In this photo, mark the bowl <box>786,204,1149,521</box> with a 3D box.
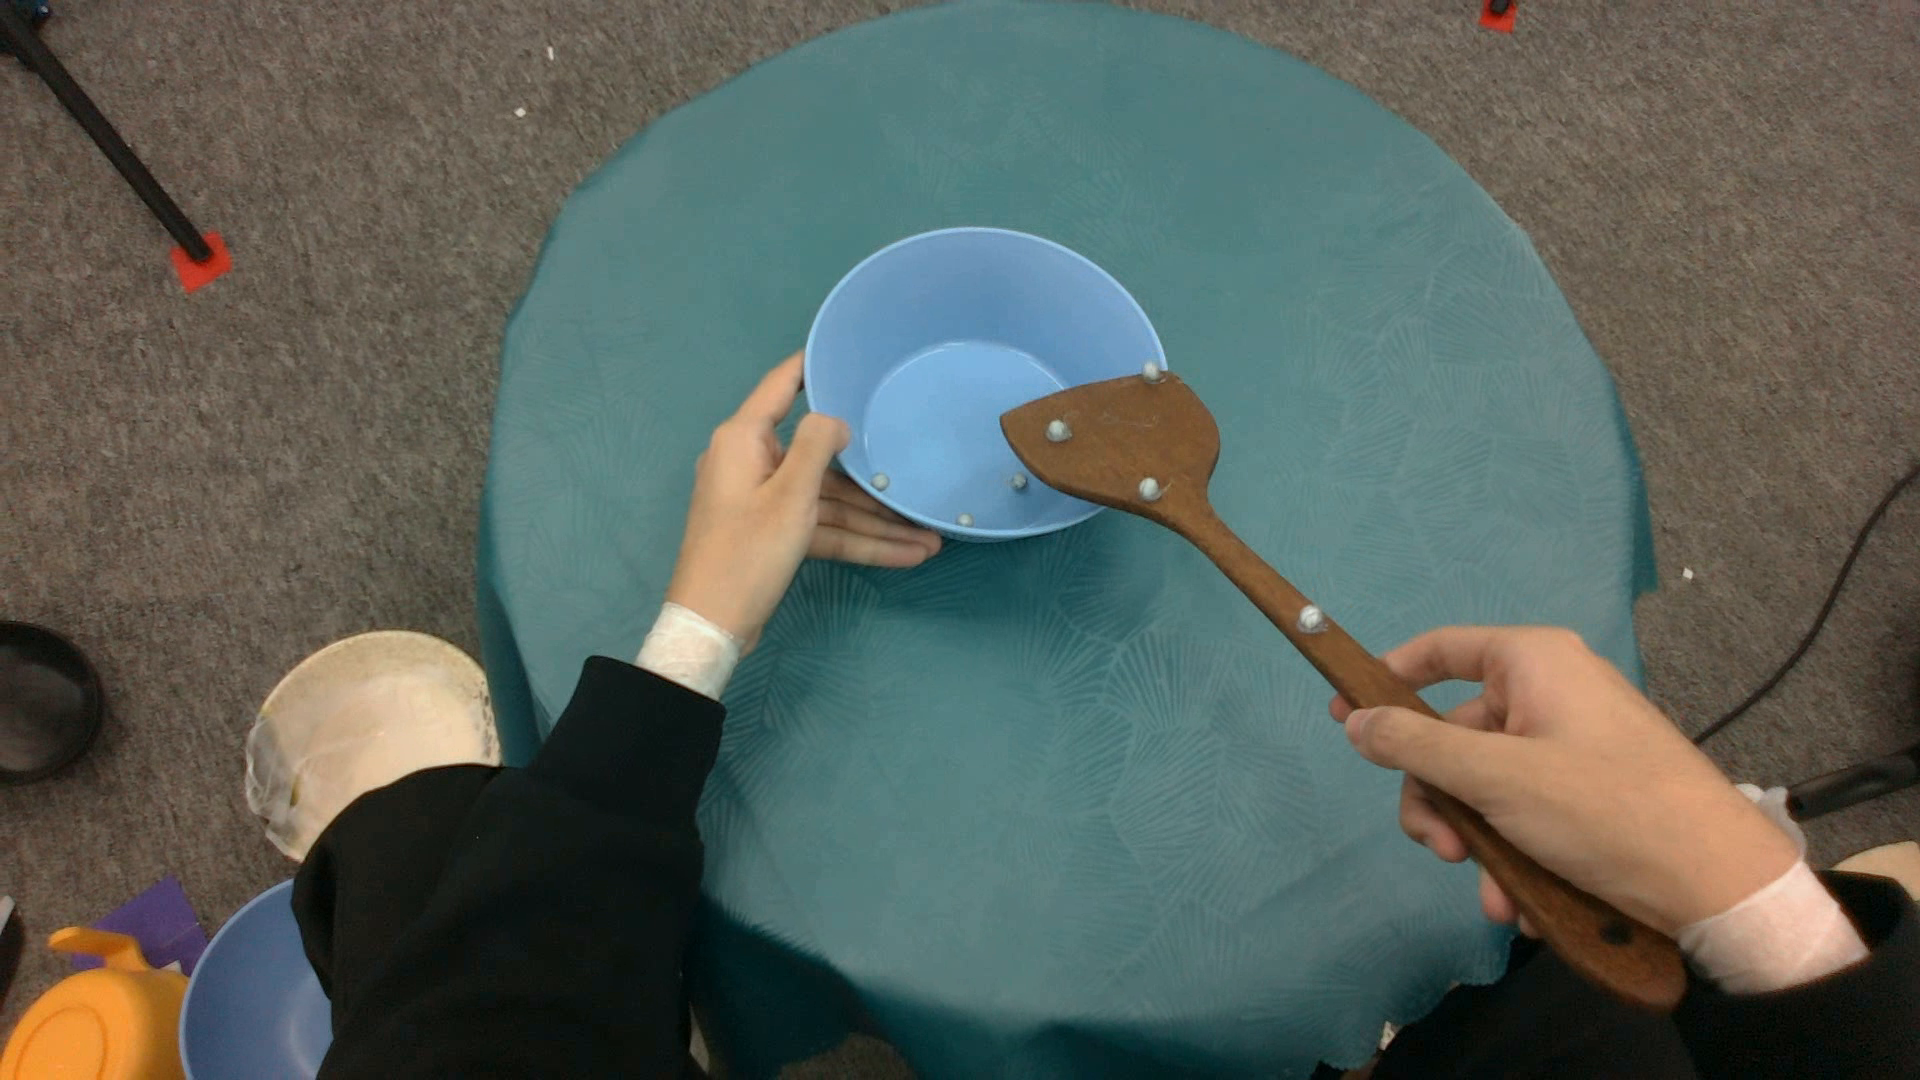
[{"bbox_3d":[0.002,-0.077,0.687,0.176,0.070,0.176,3,65,-5],"label":"bowl"}]

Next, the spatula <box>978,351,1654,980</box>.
[{"bbox_3d":[0.114,0.016,0.519,0.096,0.016,0.387,-18,35,-13],"label":"spatula"}]
